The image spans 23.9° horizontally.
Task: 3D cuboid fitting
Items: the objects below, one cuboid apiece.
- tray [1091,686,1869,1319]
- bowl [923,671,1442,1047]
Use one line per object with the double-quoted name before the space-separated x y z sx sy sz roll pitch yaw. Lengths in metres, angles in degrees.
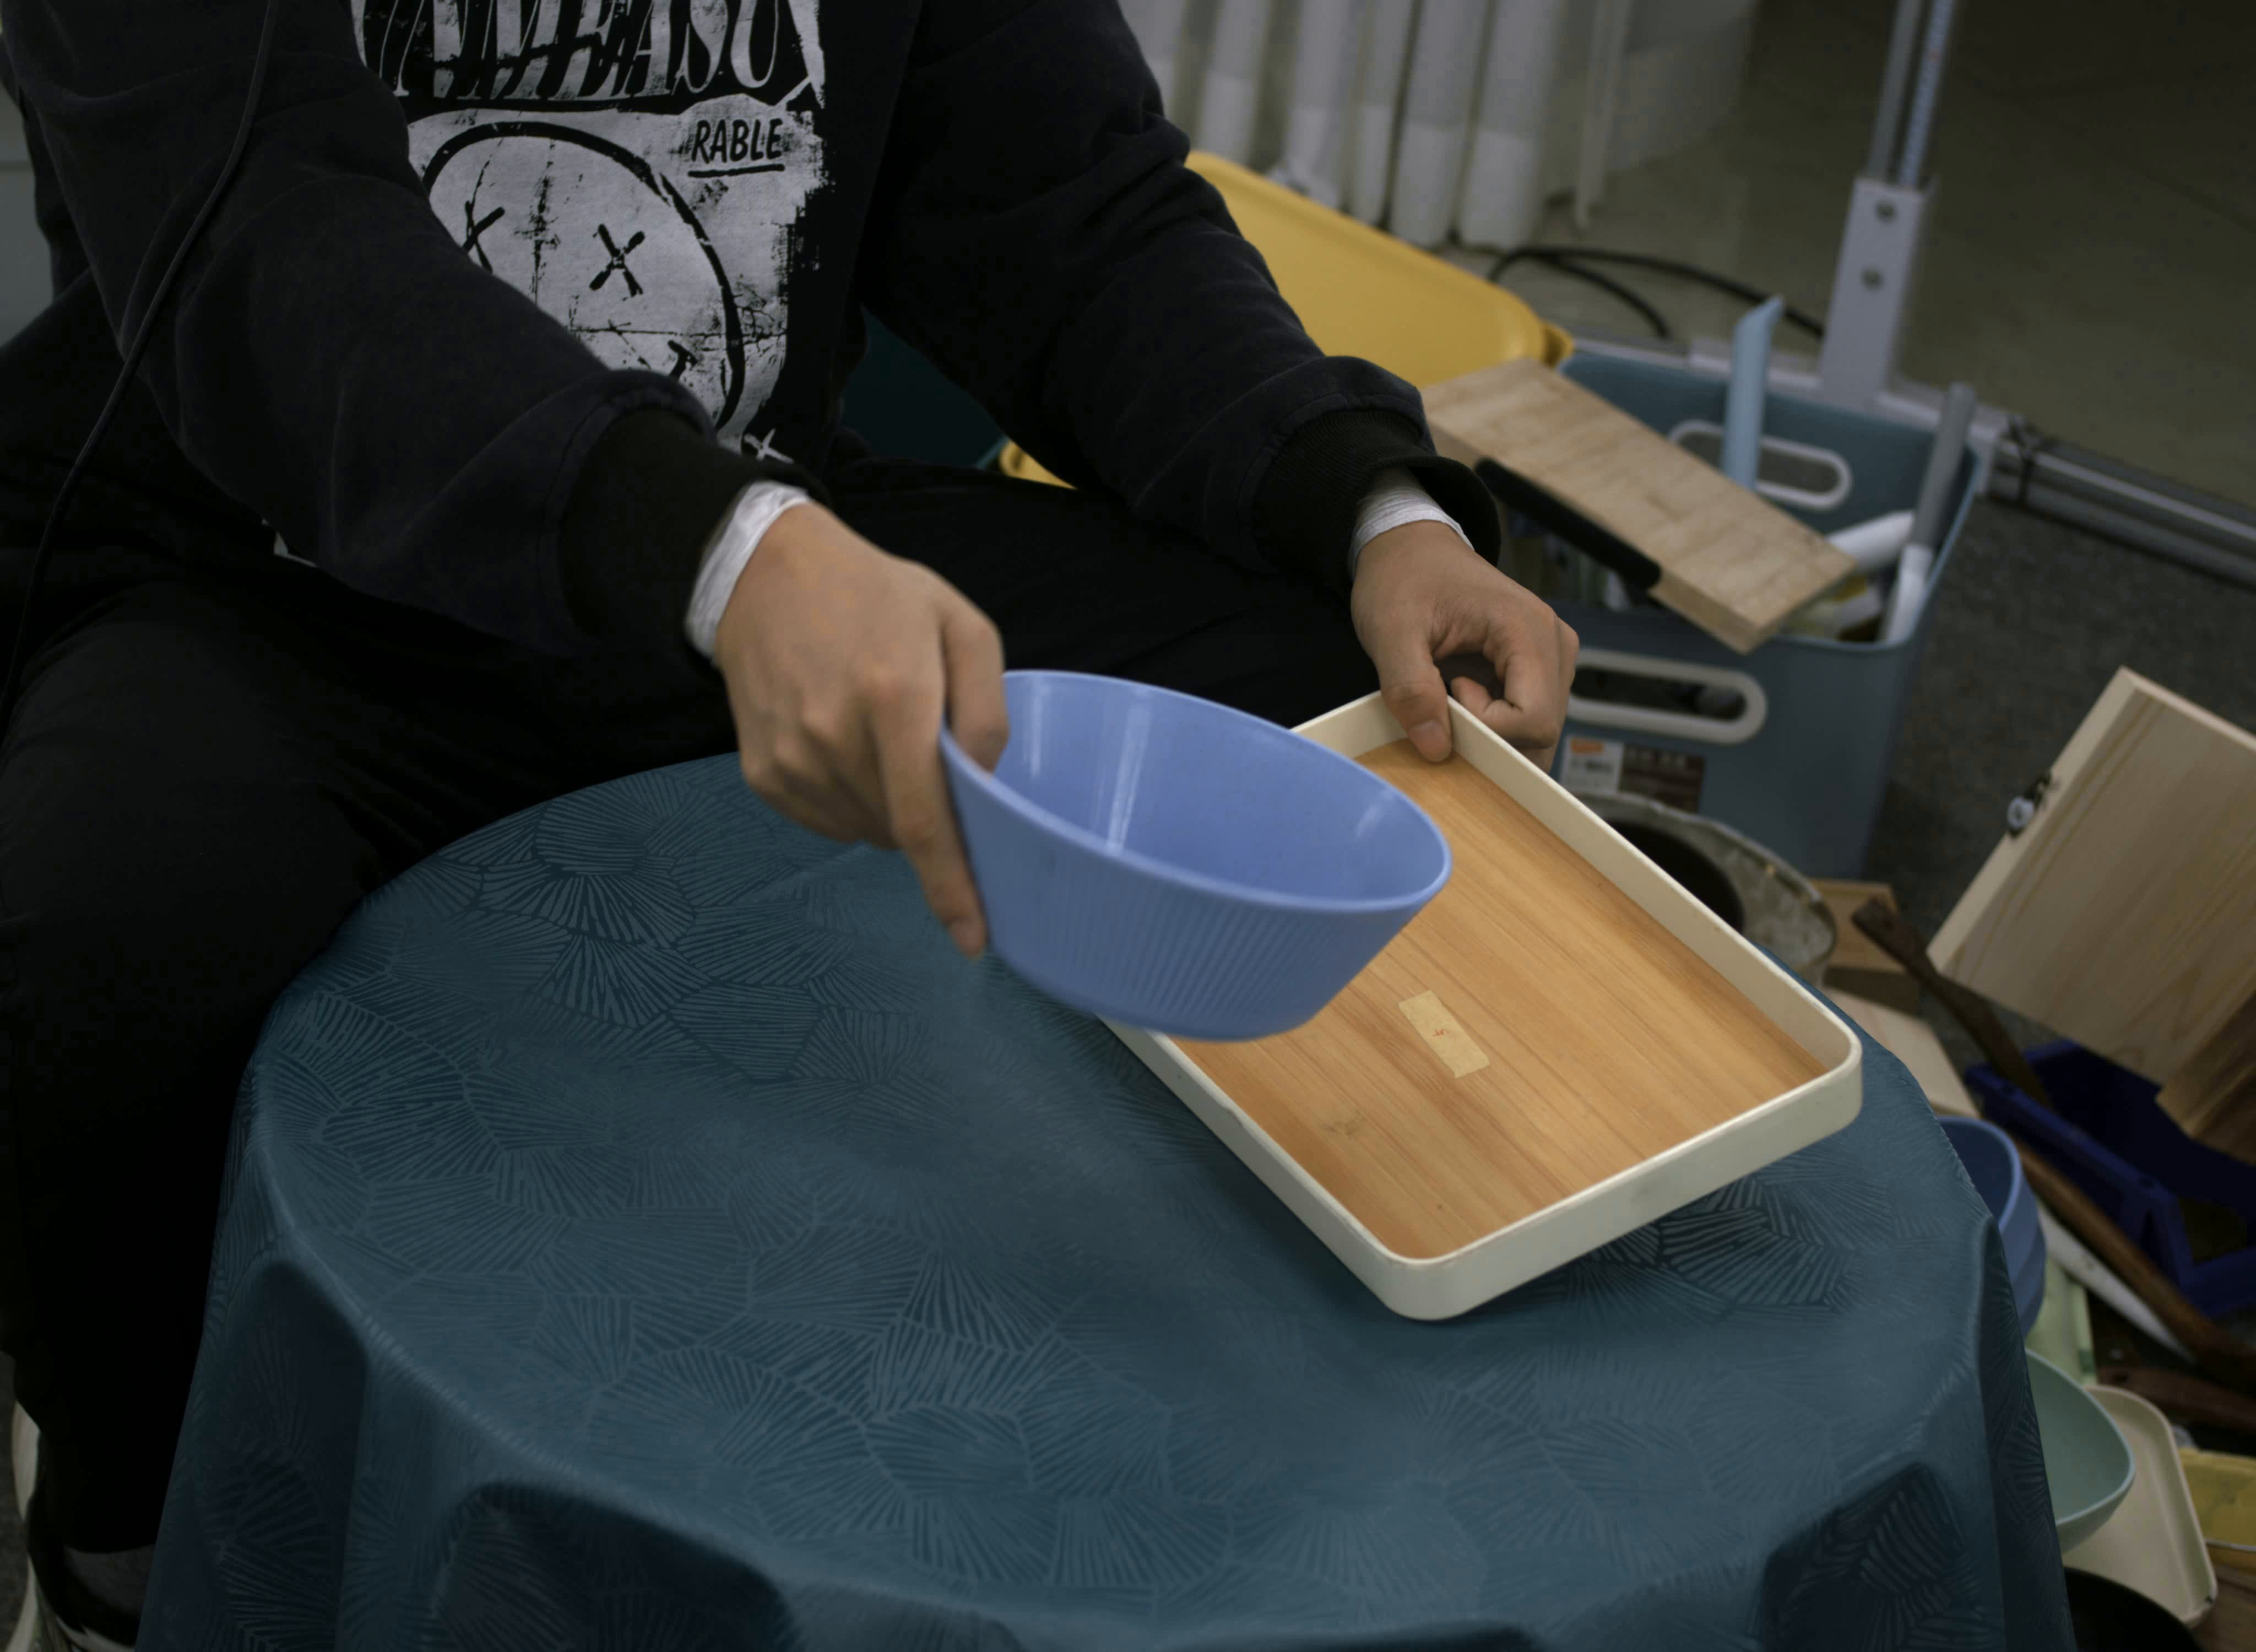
"tray" 0.103 0.056 1.874 0.191 0.027 0.303 -24 37 -19
"bowl" 0.009 0.016 1.731 0.175 0.070 0.177 15 21 -6
